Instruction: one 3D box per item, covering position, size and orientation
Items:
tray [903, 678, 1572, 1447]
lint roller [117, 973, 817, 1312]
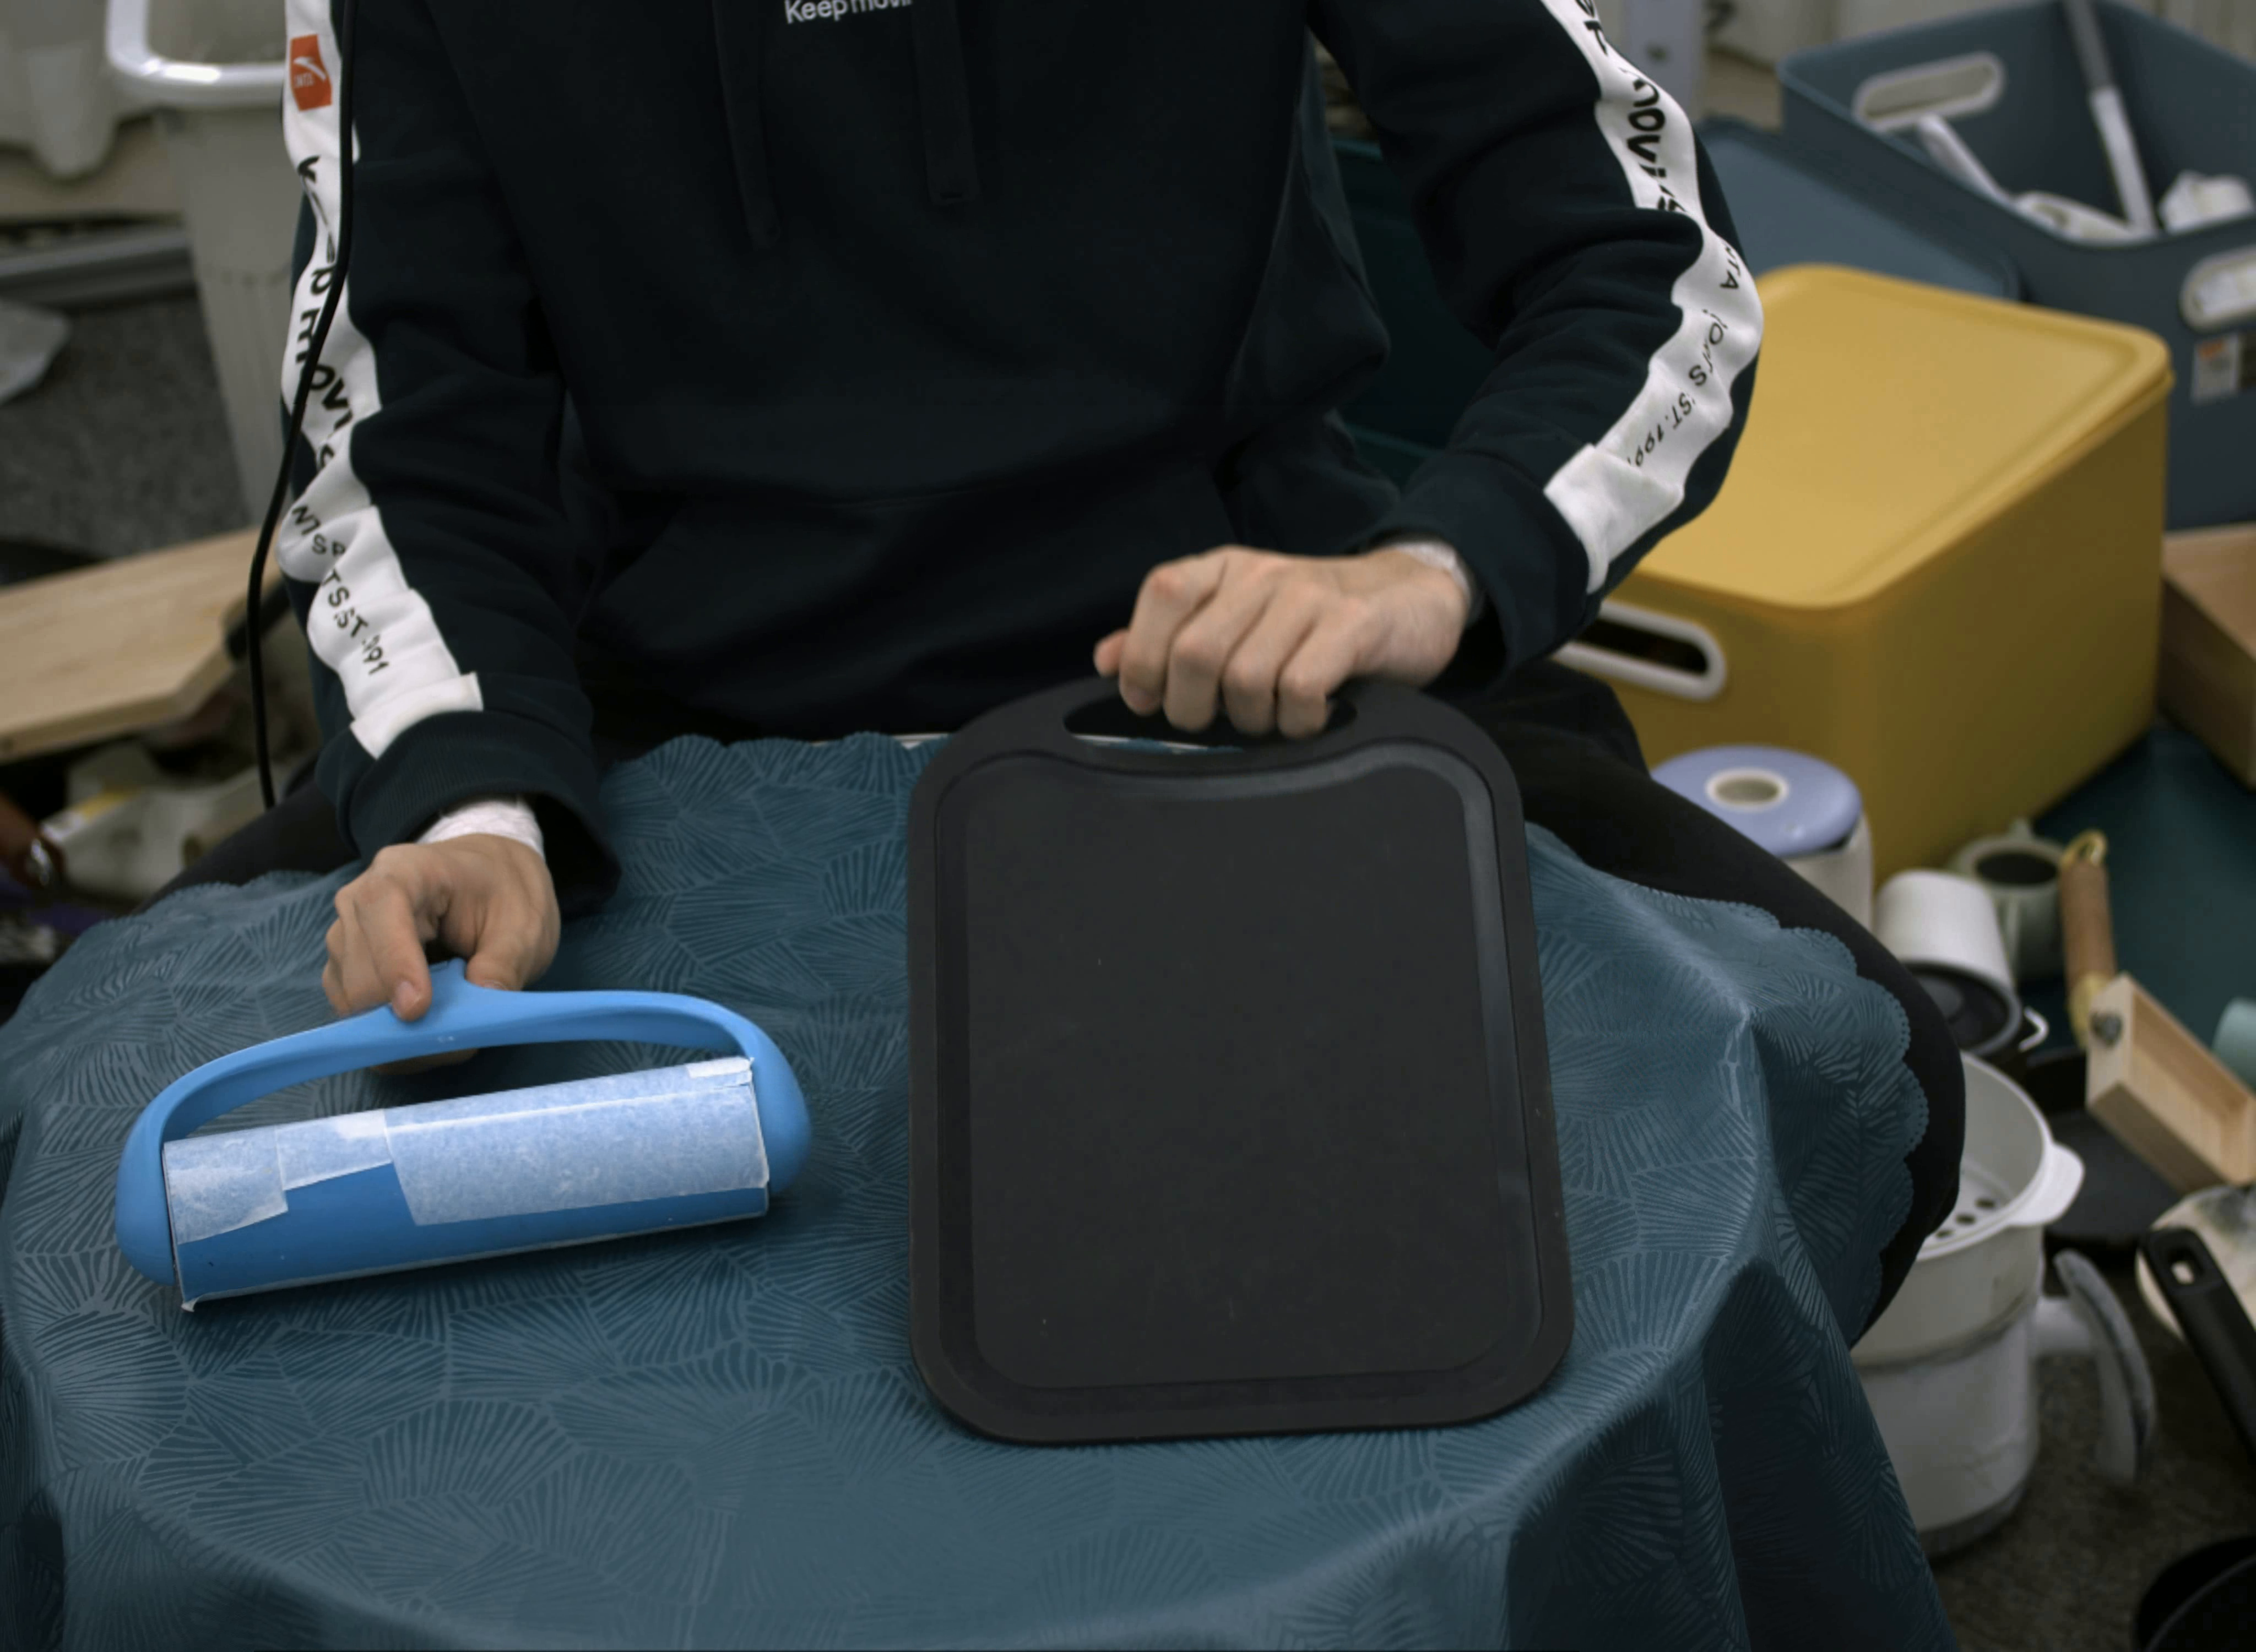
[{"bbox_3d":[0.032,0.068,1.837,0.210,0.009,0.332,-1,47,0],"label":"tray"},{"bbox_3d":[-0.229,0.087,1.883,0.229,0.067,0.182,-11,32,-11],"label":"lint roller"}]
